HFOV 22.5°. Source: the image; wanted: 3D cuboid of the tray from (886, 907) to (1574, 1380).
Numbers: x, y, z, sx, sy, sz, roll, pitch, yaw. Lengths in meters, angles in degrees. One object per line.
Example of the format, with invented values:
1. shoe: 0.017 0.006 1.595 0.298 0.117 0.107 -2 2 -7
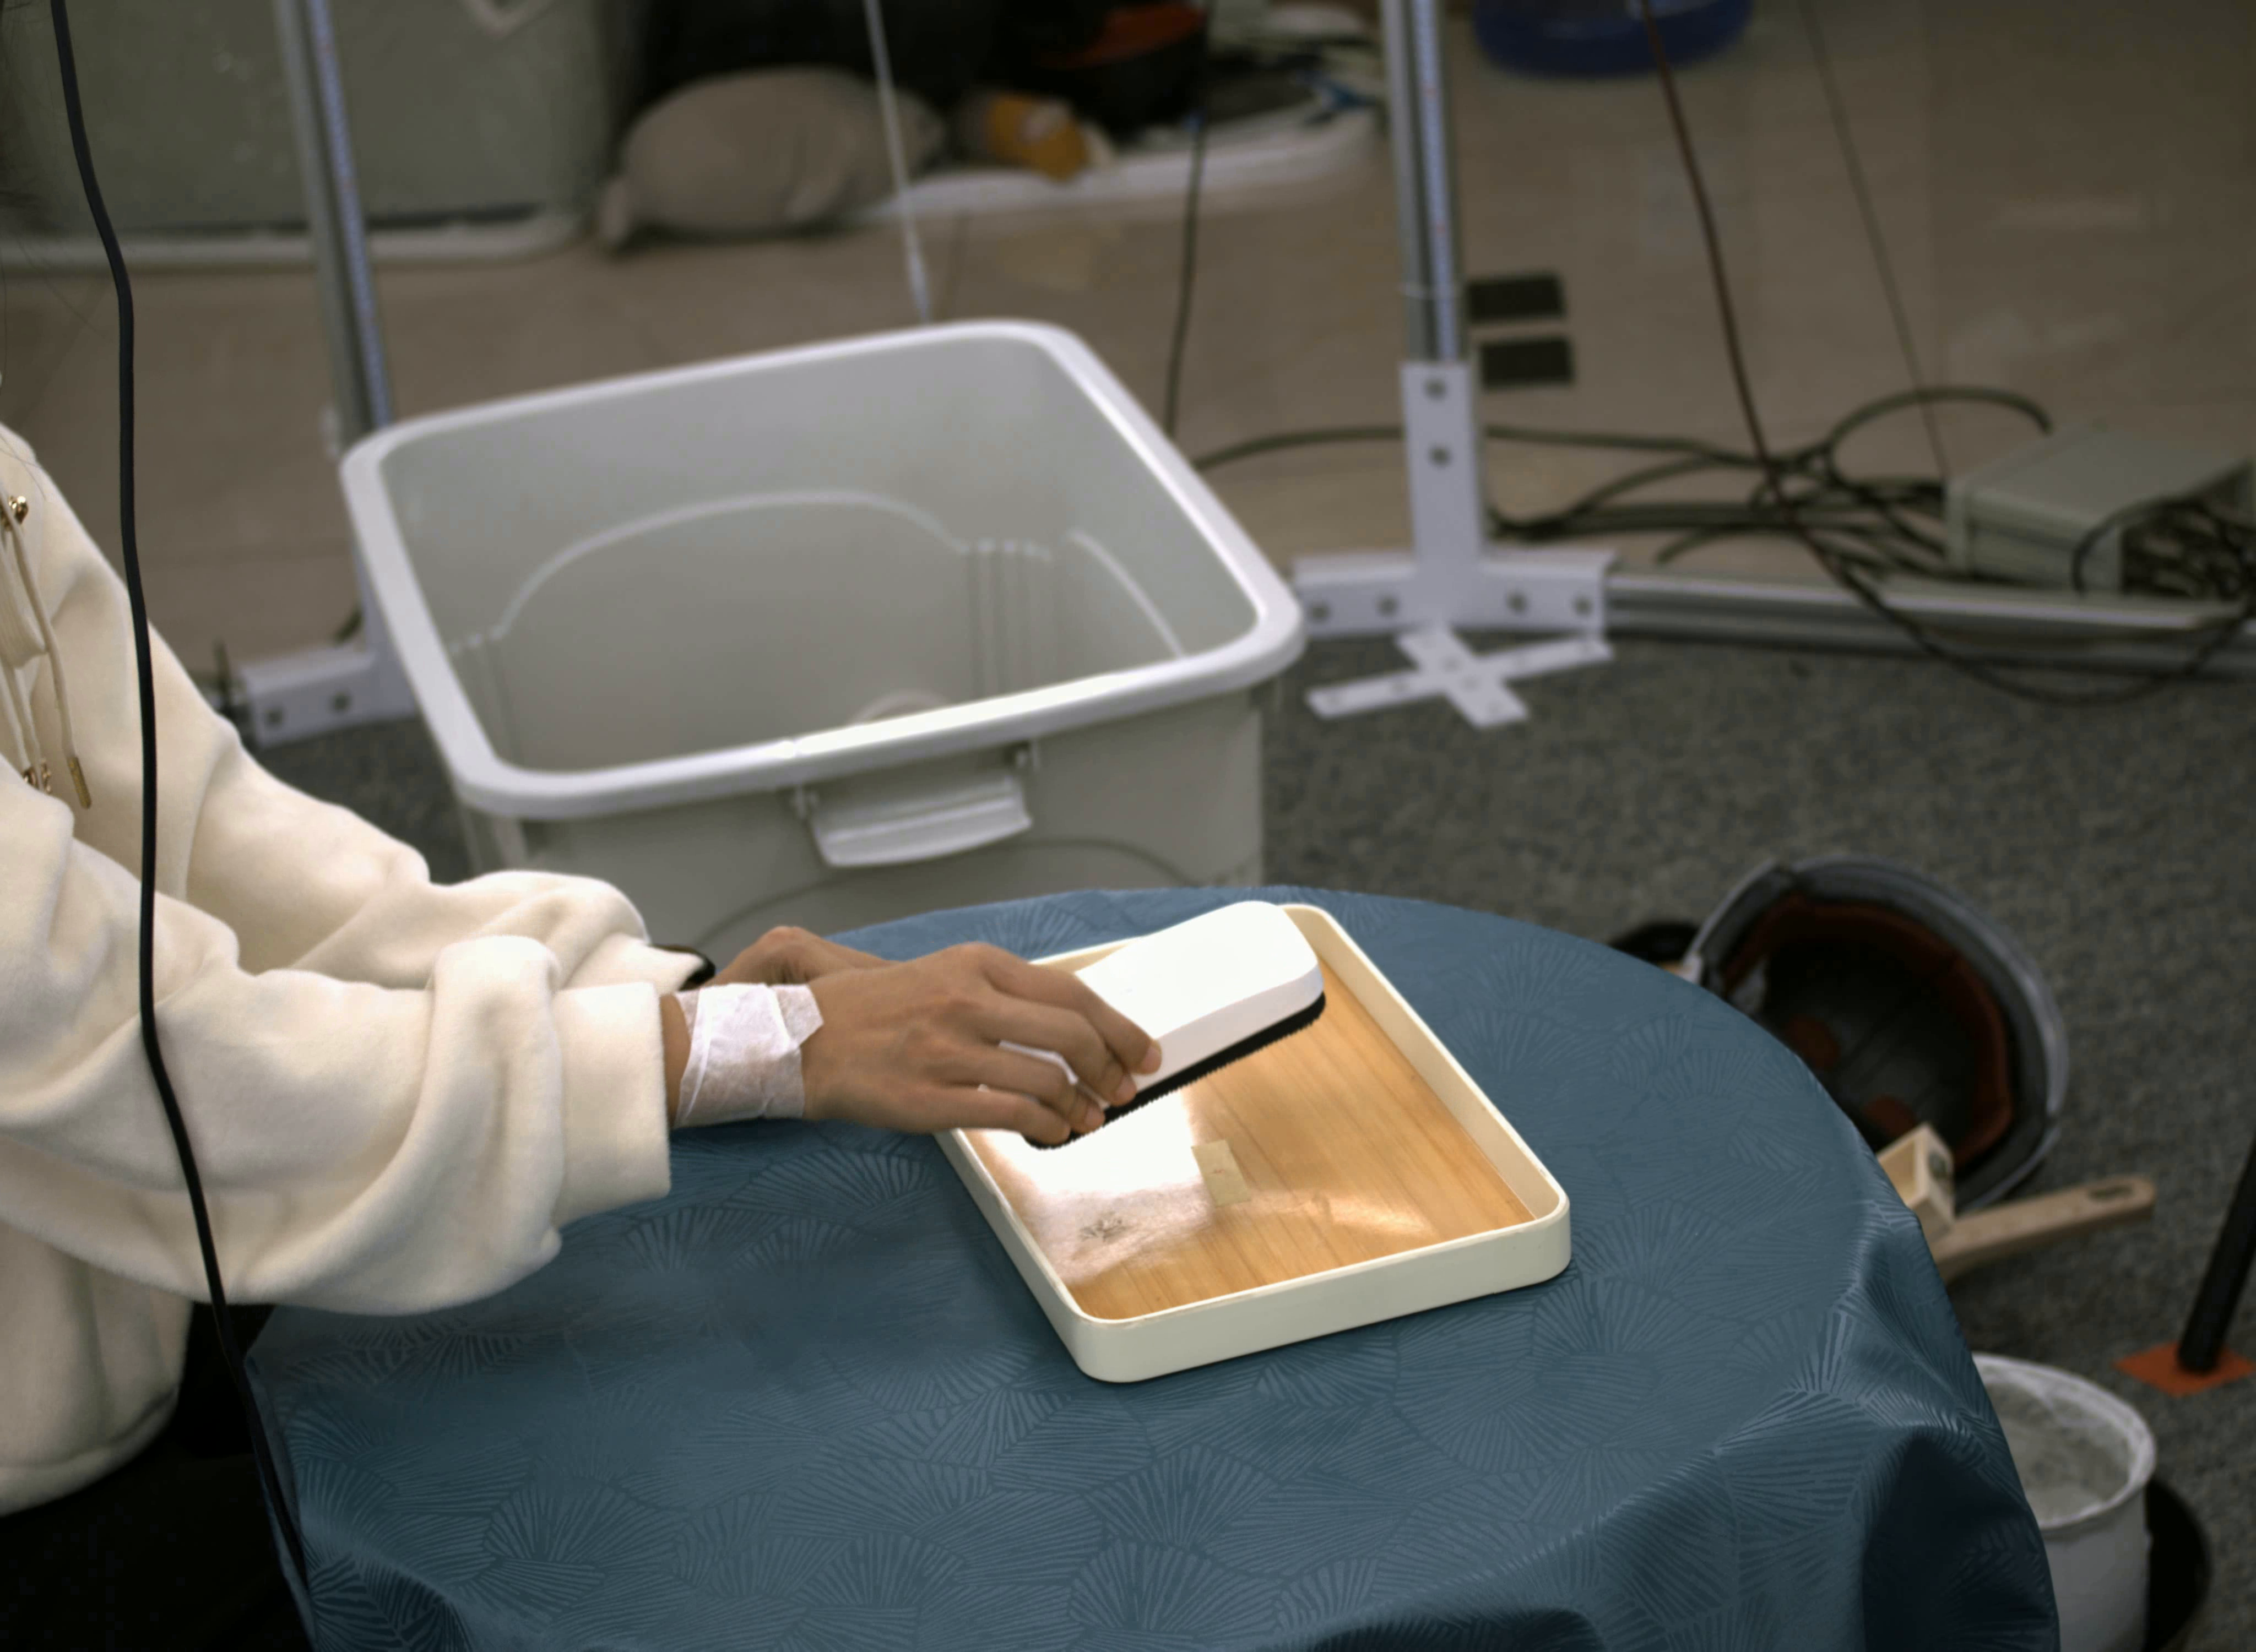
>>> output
1. tray: 0.033 0.116 2.158 0.191 0.028 0.296 -12 26 -13

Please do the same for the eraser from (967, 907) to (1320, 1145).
1. eraser: 0.006 0.072 2.122 0.131 0.035 0.062 -24 35 -10
